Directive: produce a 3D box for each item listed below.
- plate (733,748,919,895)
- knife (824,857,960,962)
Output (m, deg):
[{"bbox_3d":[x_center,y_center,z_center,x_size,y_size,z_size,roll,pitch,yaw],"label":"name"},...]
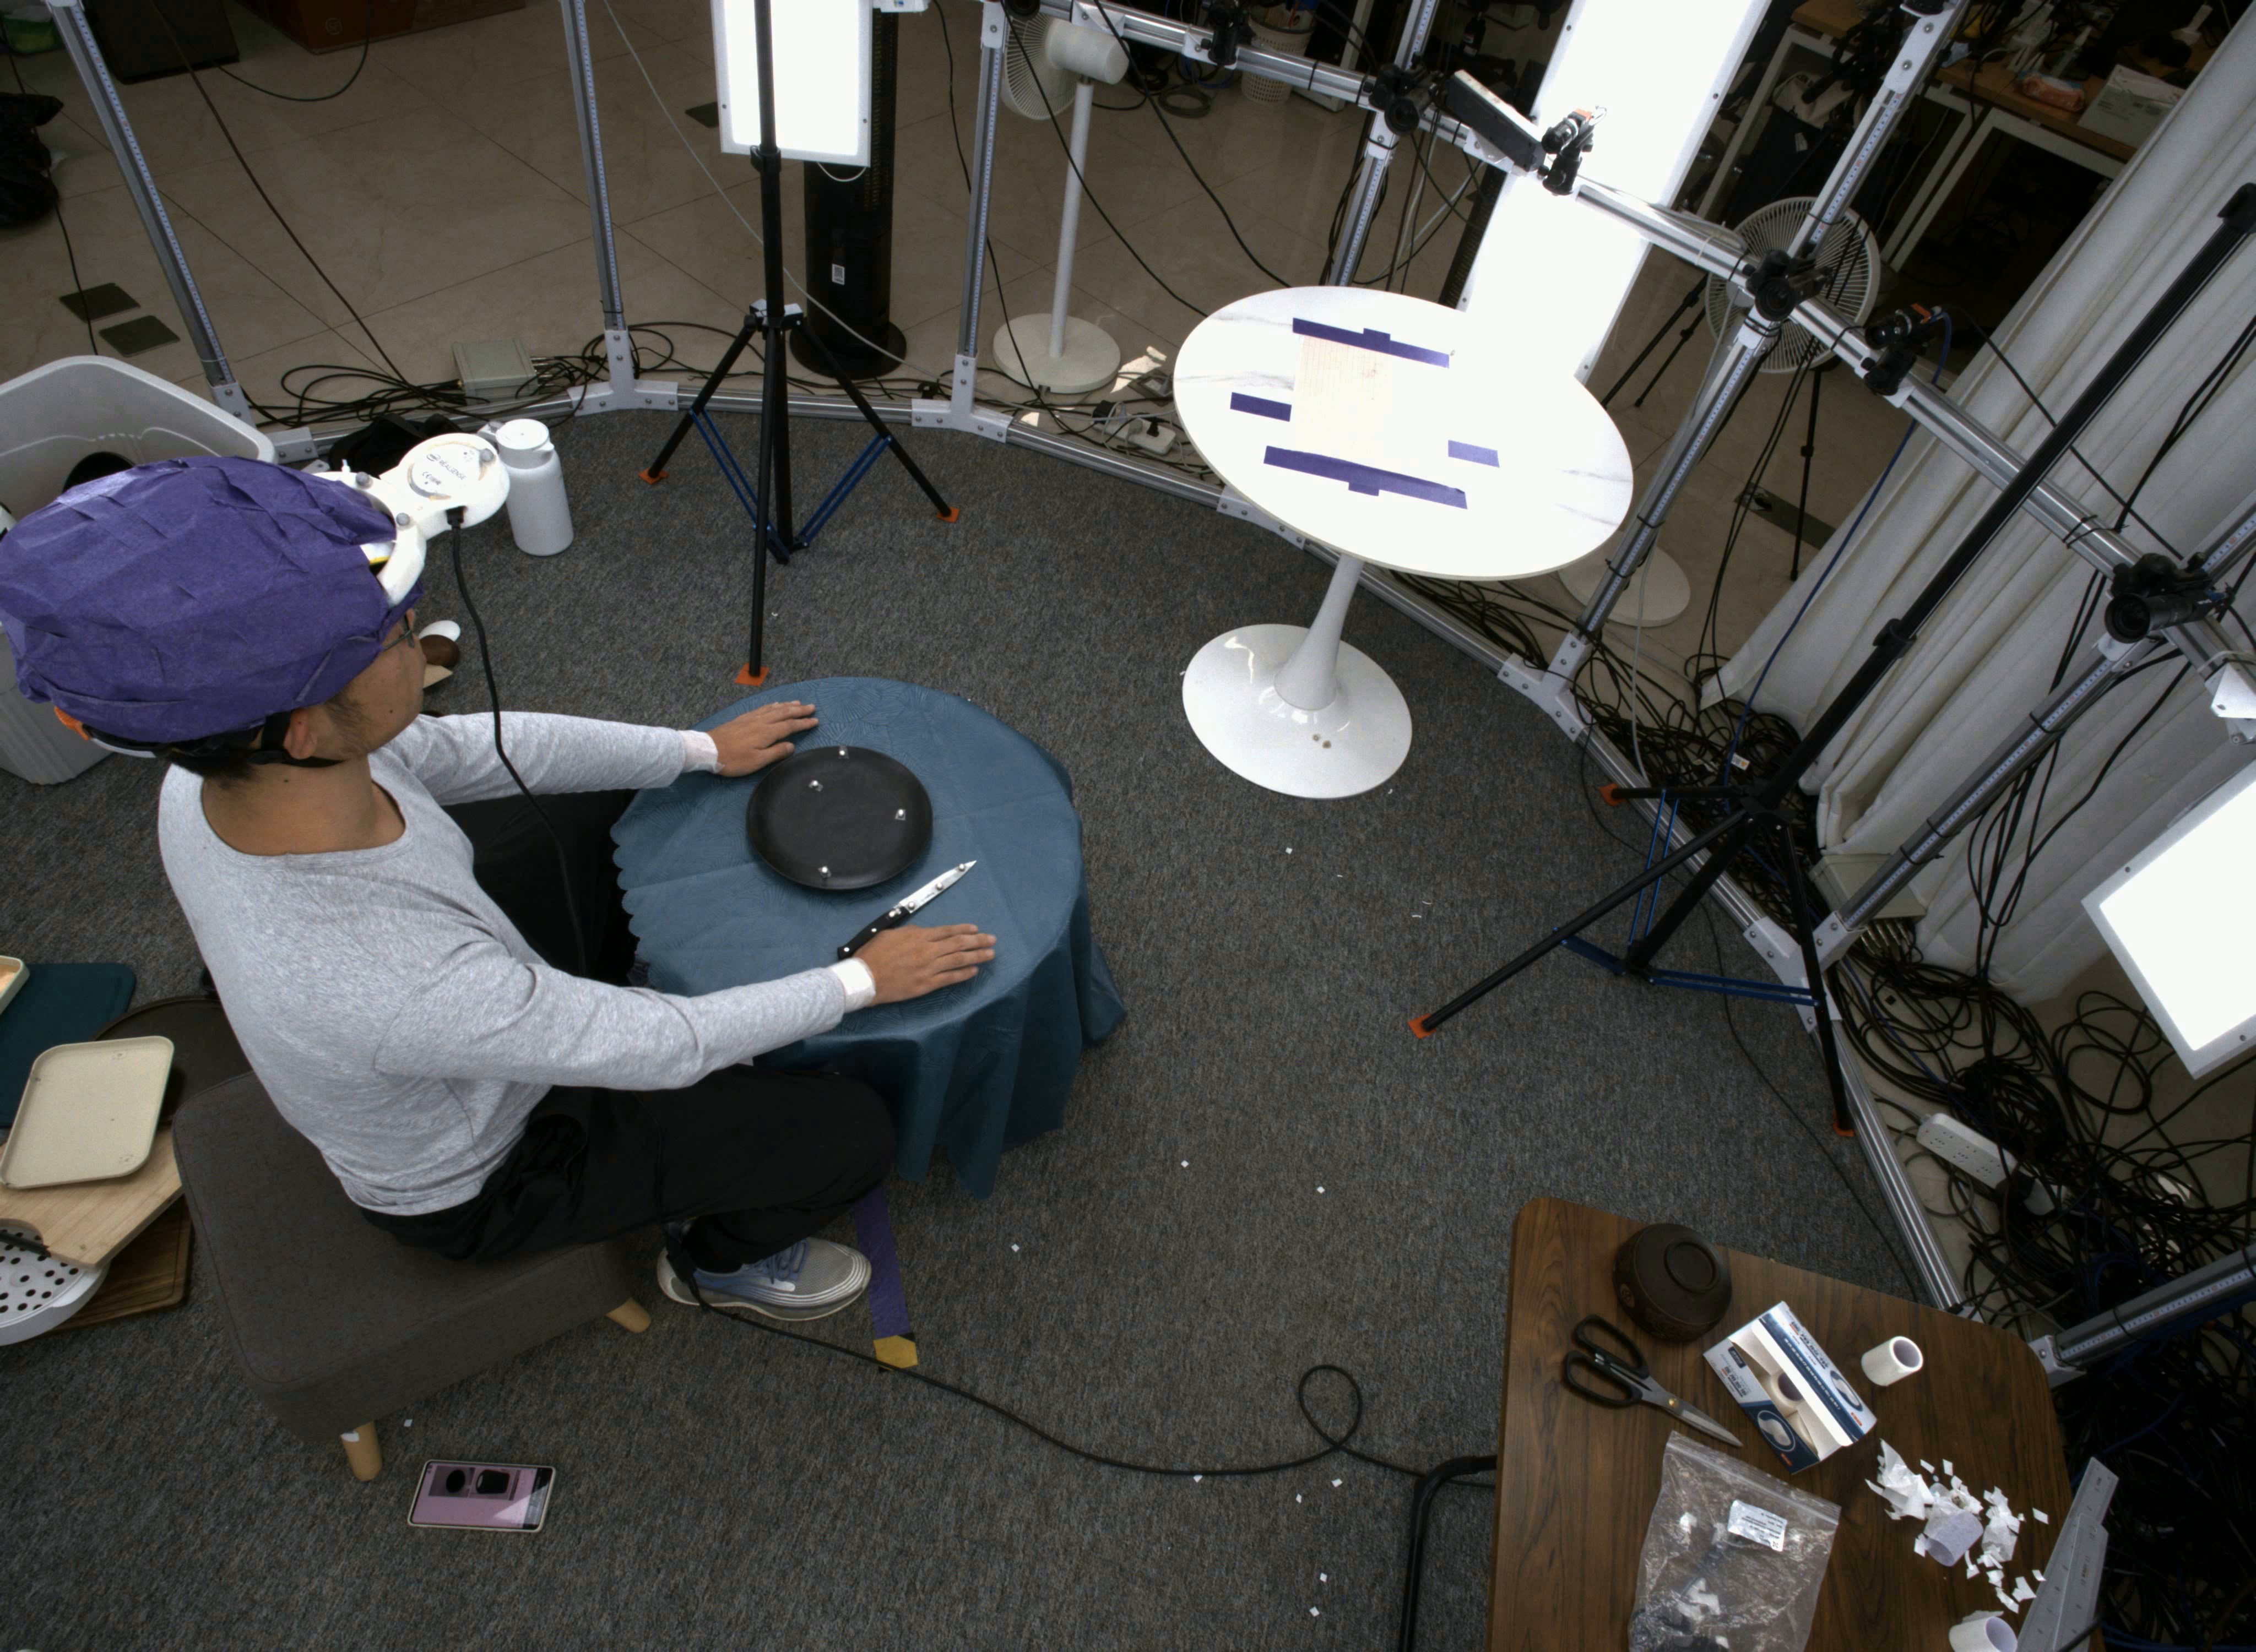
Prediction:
[{"bbox_3d":[-0.402,-0.006,1.731,0.244,0.024,0.240,8,53,-9],"label":"plate"},{"bbox_3d":[-0.298,0.104,1.683,0.024,0.016,0.238,41,52,13],"label":"knife"}]
